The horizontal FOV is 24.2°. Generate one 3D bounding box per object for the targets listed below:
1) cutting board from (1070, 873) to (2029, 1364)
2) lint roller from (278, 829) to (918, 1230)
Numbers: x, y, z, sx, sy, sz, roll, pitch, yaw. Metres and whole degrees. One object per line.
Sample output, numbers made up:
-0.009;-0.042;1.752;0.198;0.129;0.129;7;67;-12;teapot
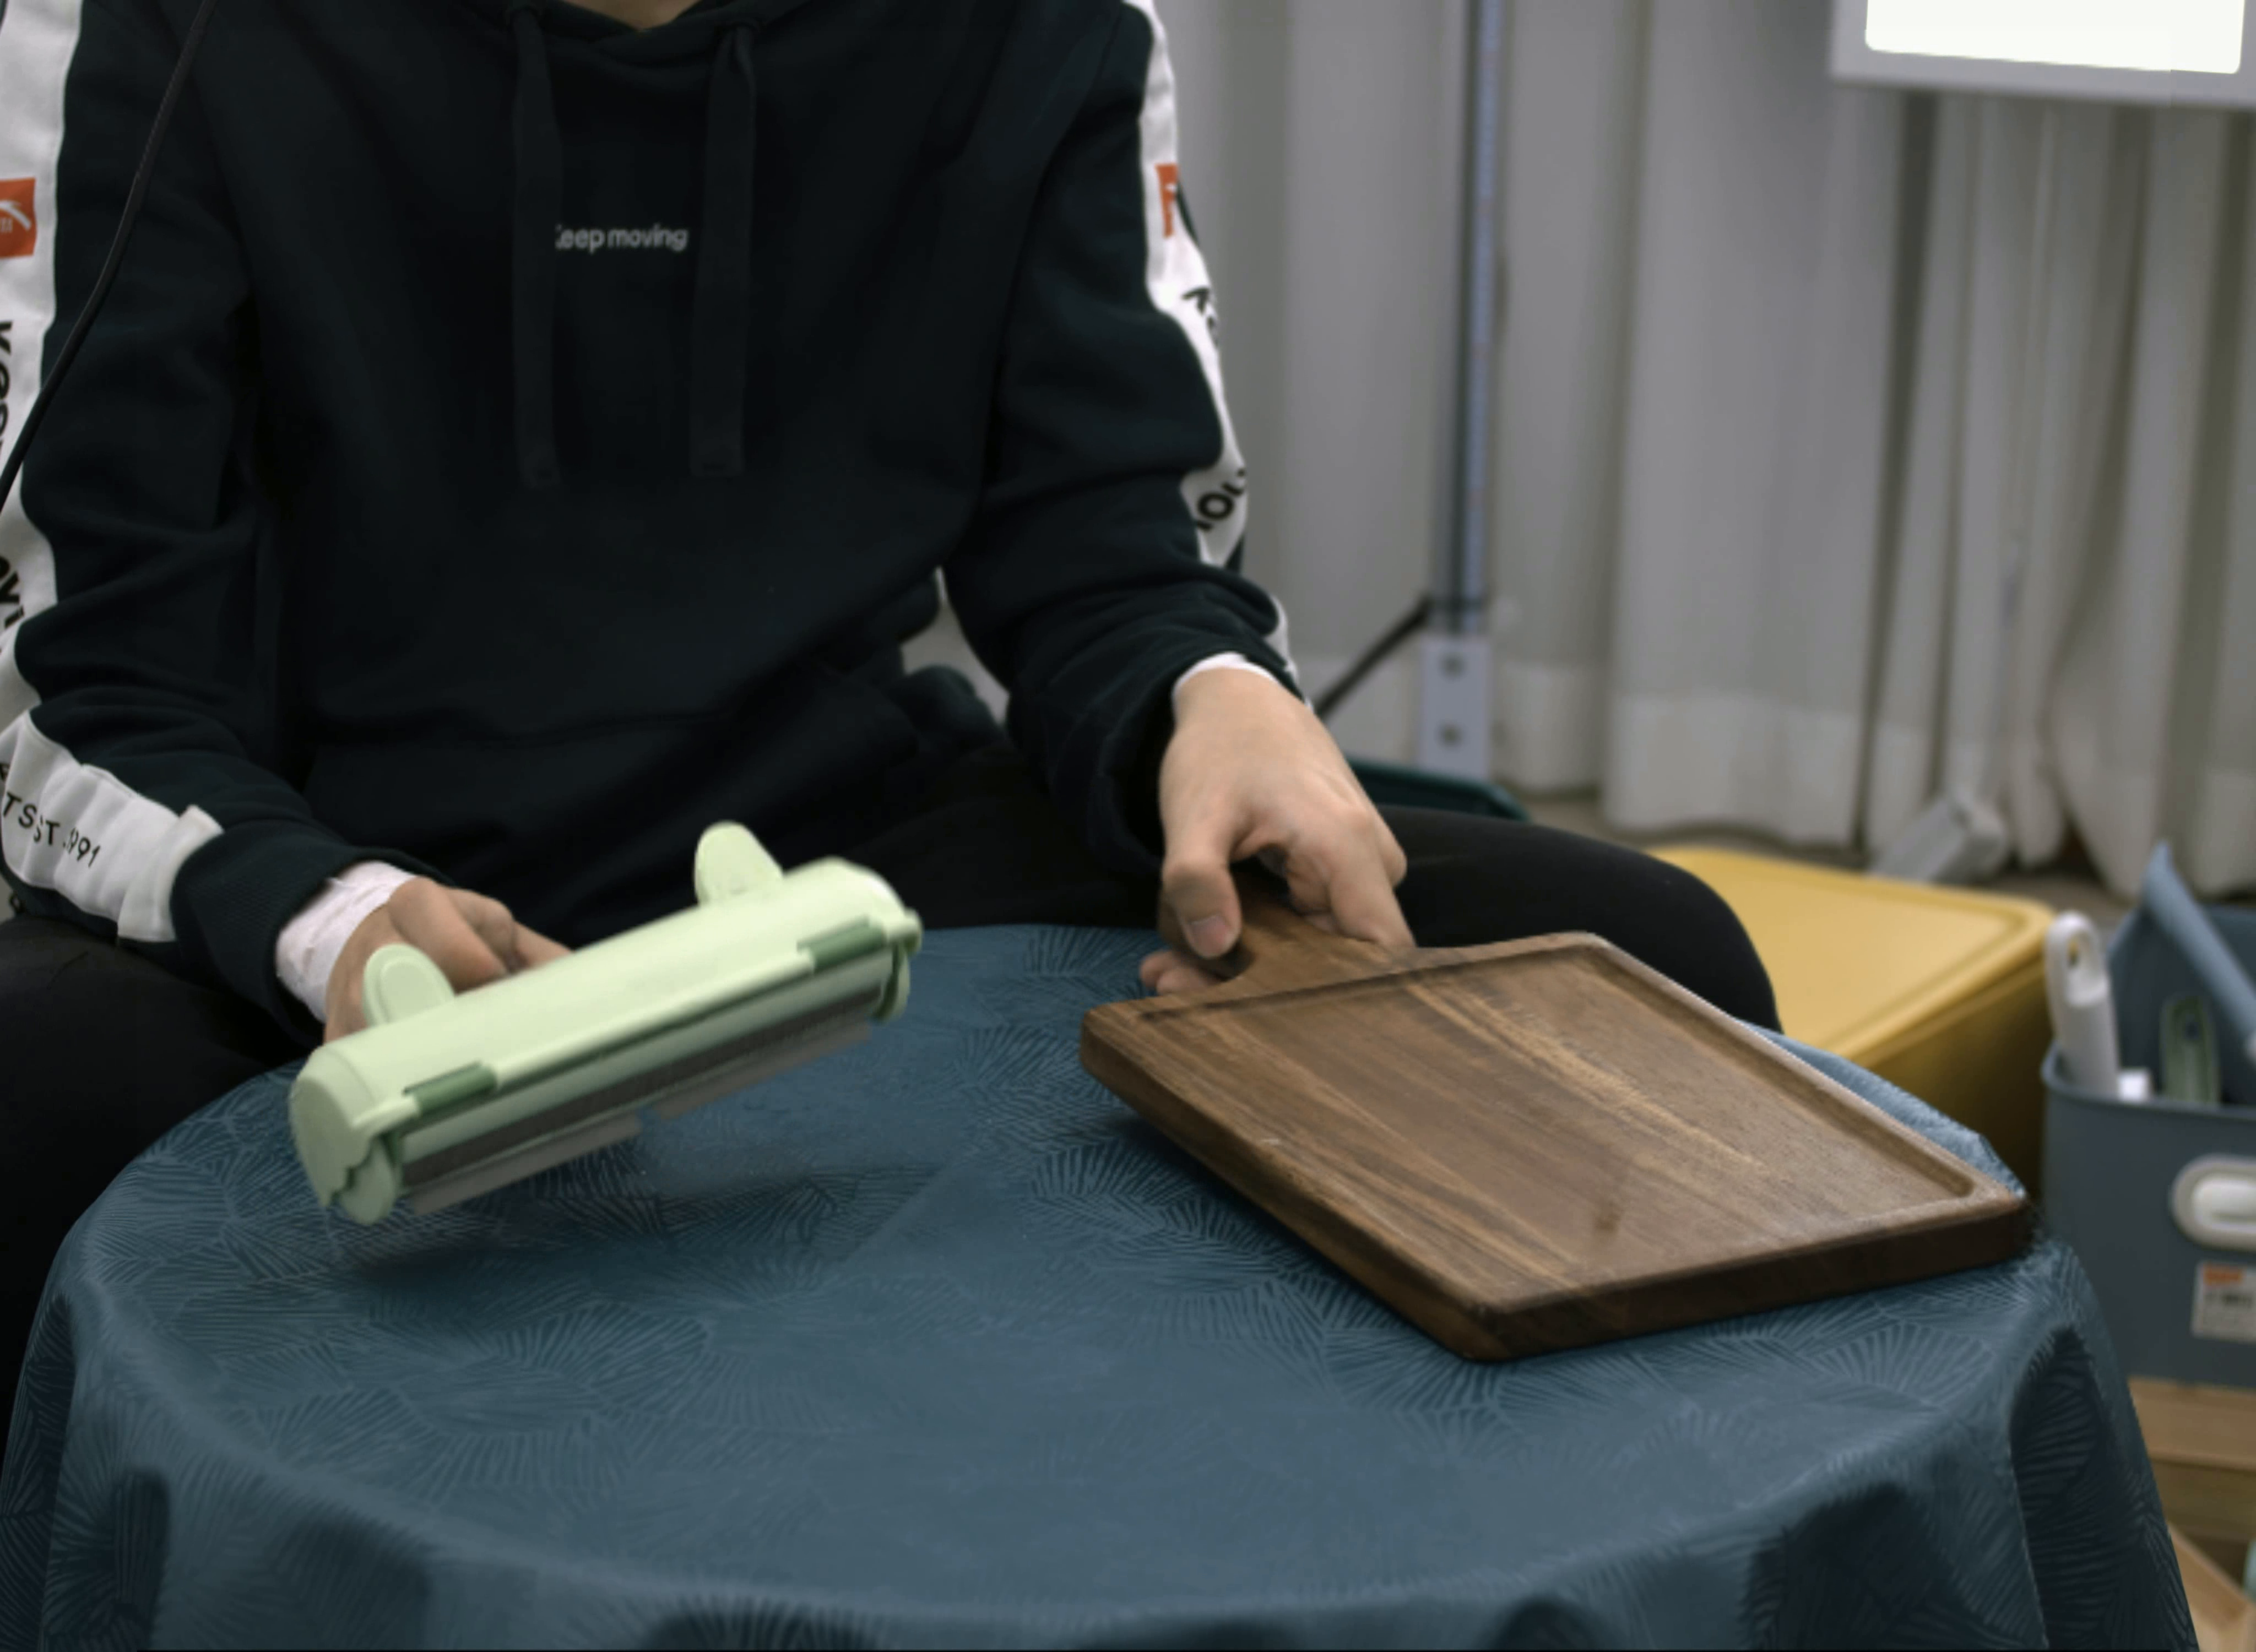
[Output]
0.101;0.078;1.660;0.202;0.023;0.347;-8;22;-29;cutting board
-0.188;0.053;1.615;0.199;0.083;0.181;-20;17;-30;lint roller
